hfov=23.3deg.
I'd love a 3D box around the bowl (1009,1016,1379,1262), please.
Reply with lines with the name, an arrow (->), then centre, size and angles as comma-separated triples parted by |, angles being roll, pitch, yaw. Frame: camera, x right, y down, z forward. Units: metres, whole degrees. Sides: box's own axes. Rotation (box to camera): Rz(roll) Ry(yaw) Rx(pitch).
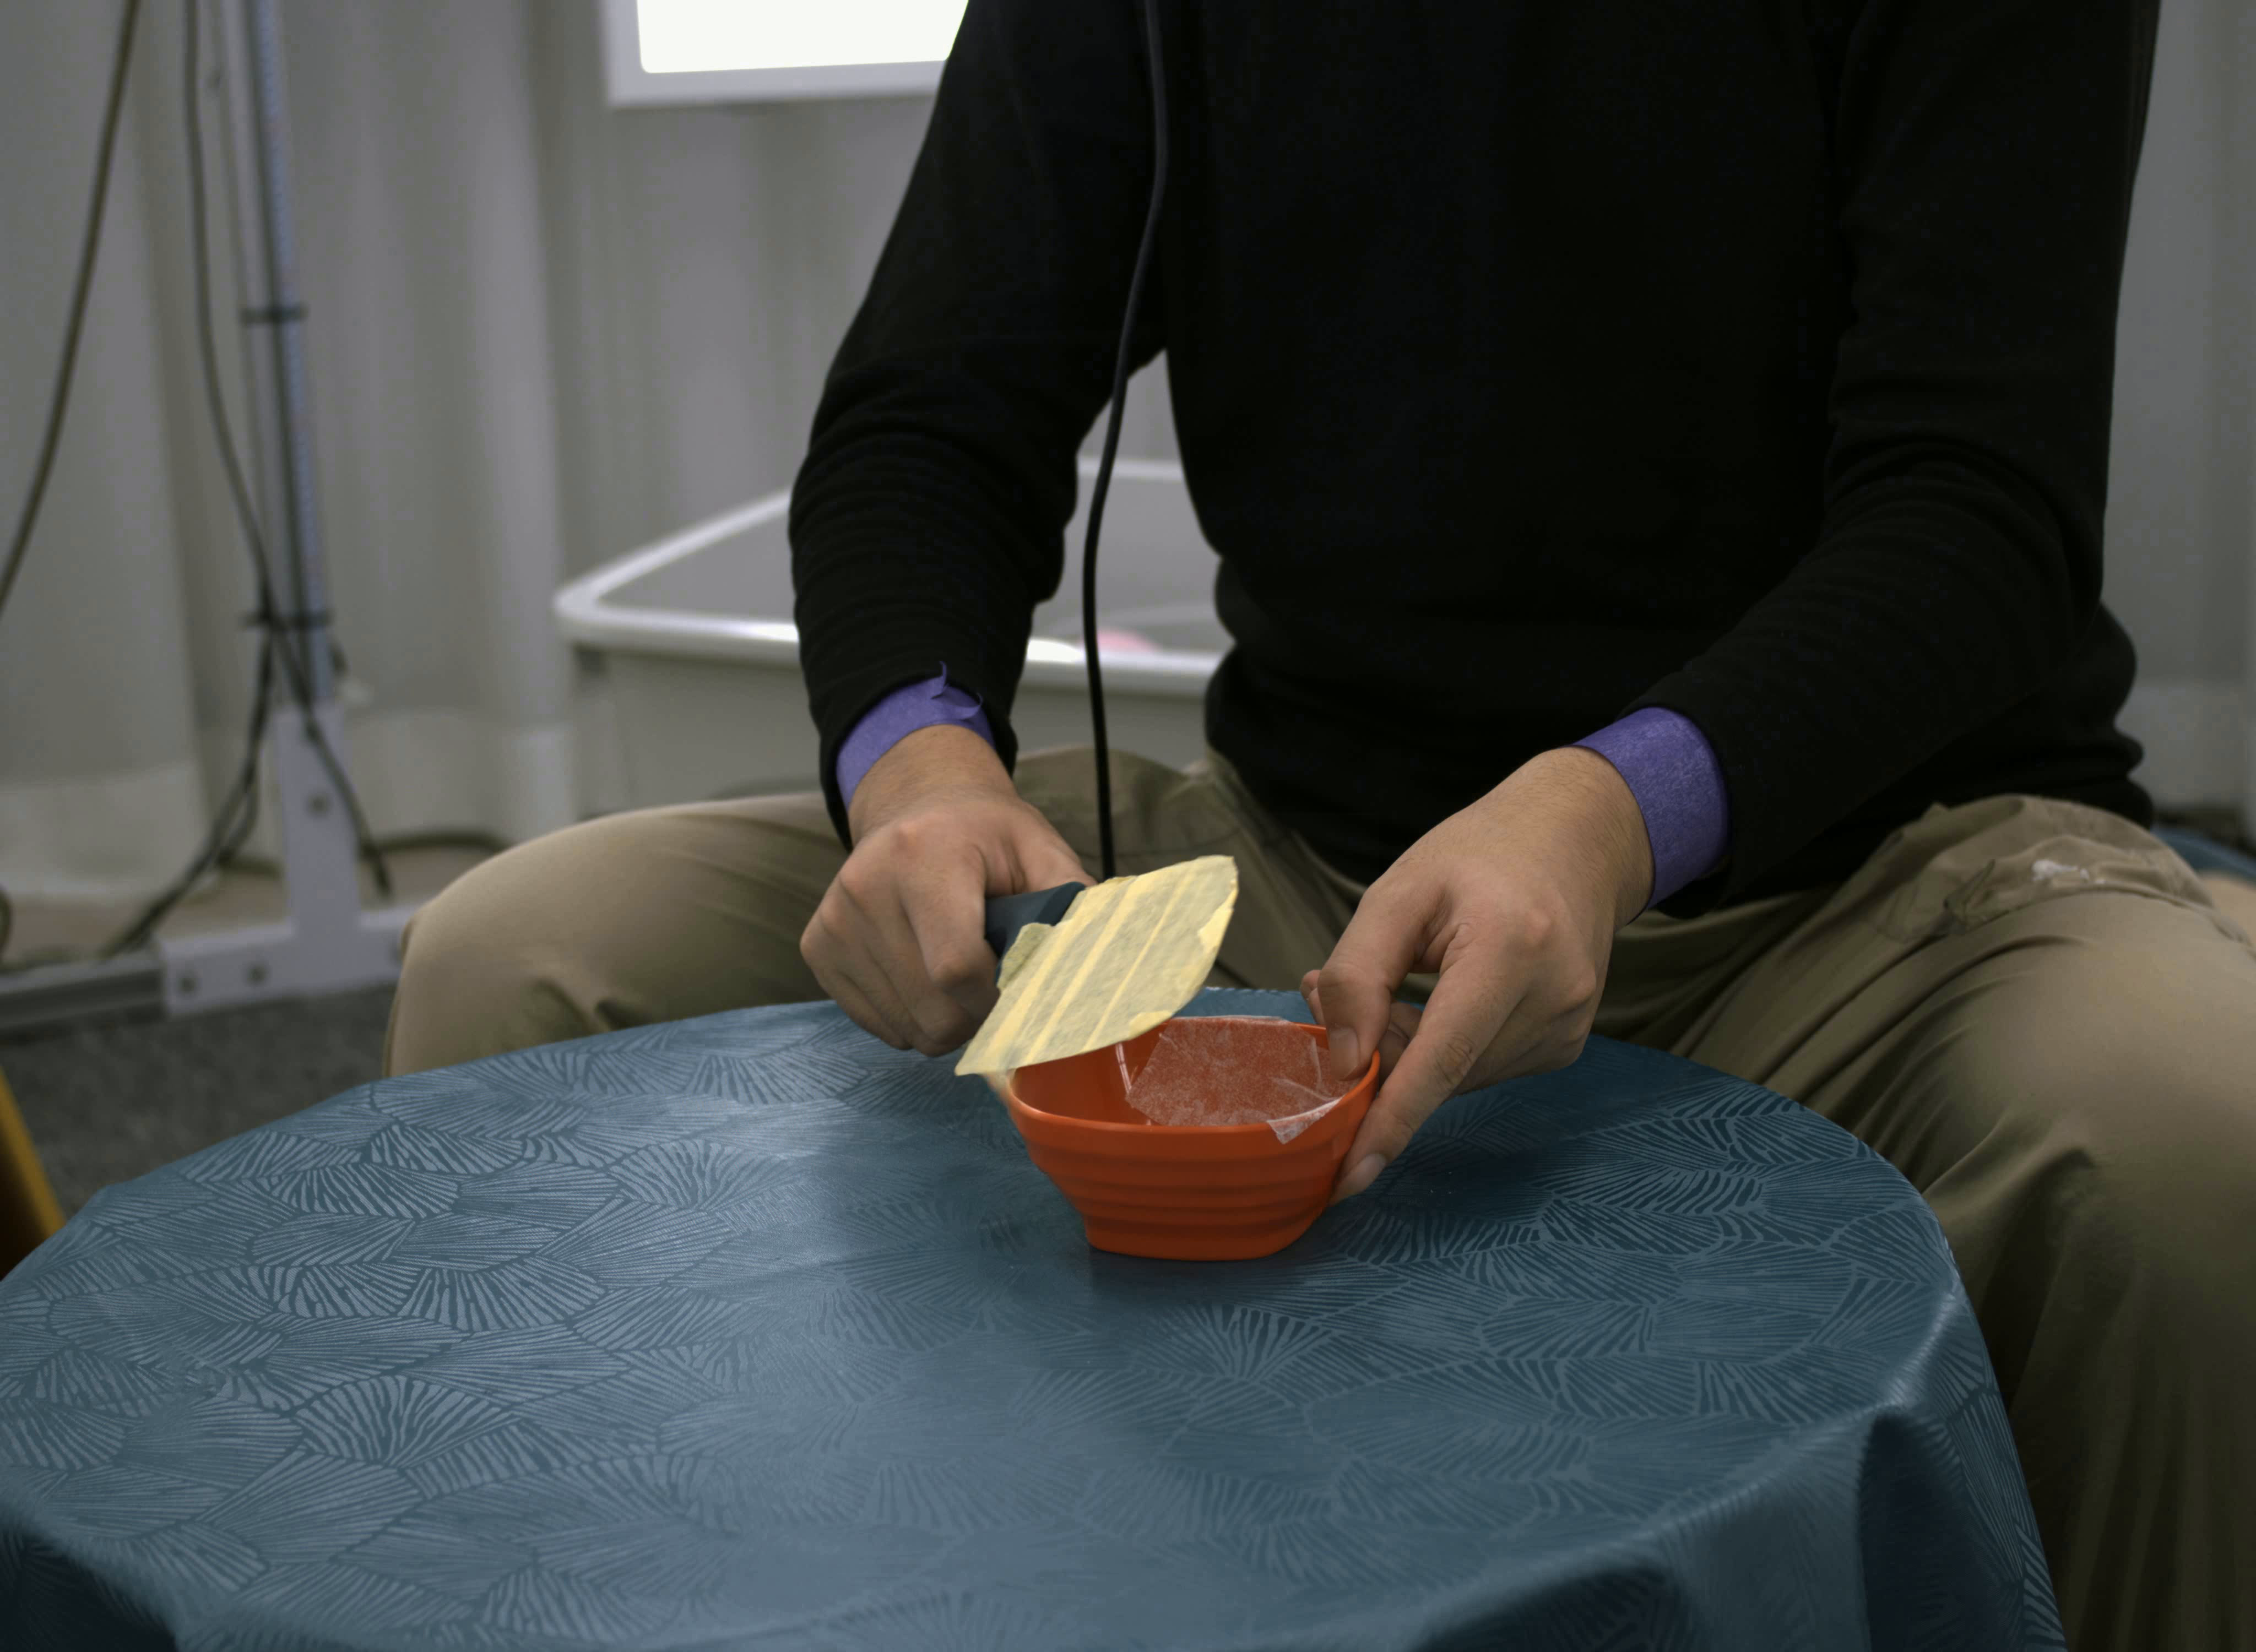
bowl -> 0.022, 0.098, 1.672 | 0.118, 0.051, 0.120 | -4, 15, 1

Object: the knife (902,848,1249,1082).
knife -> -0.024, 0.048, 1.726 | 0.081, 0.027, 0.289 | -54, 13, -17
